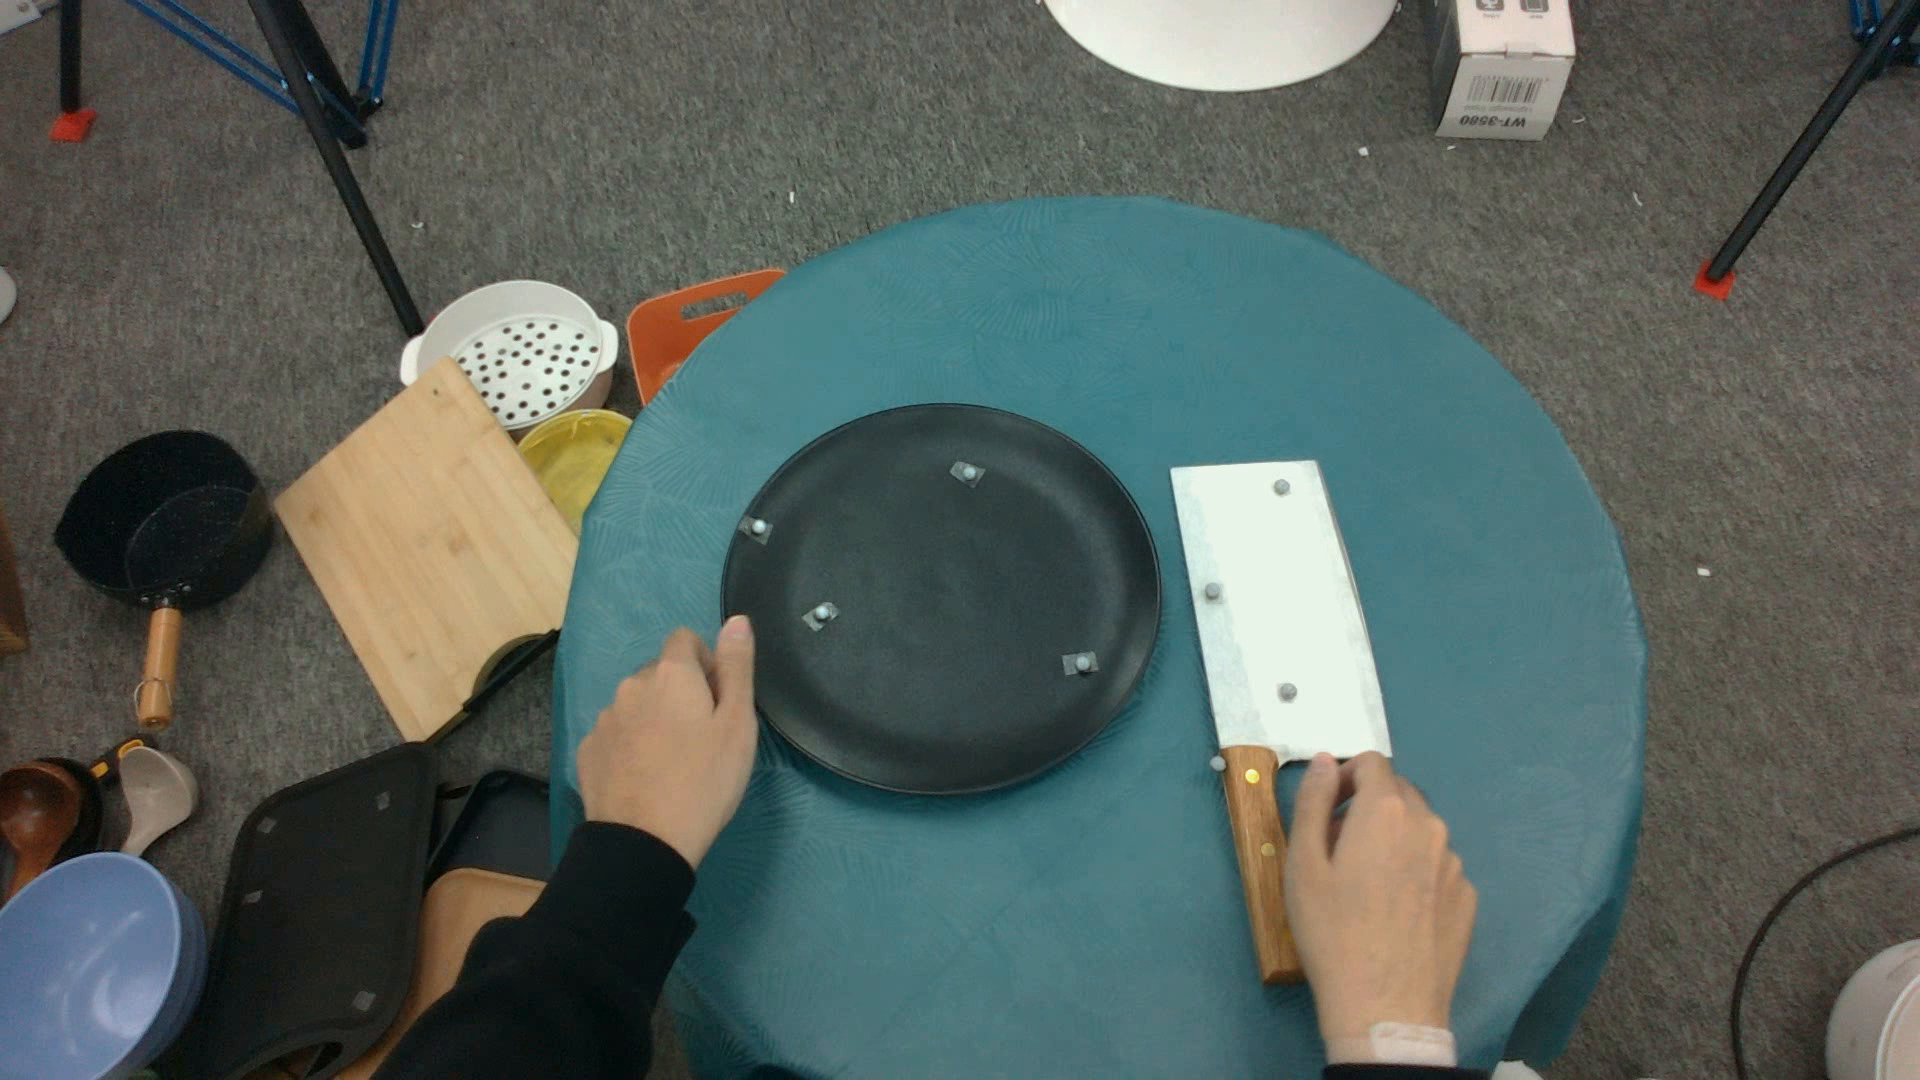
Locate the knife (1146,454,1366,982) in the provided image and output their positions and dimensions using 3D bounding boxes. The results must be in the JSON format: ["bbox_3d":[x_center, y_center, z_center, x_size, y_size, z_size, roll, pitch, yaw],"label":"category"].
[{"bbox_3d":[0.165,0.078,0.737,0.093,0.021,0.307,-3,57,-4],"label":"knife"}]

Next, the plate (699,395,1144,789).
[{"bbox_3d":[-0.021,0.024,0.761,0.244,0.023,0.245,0,60,-1],"label":"plate"}]
